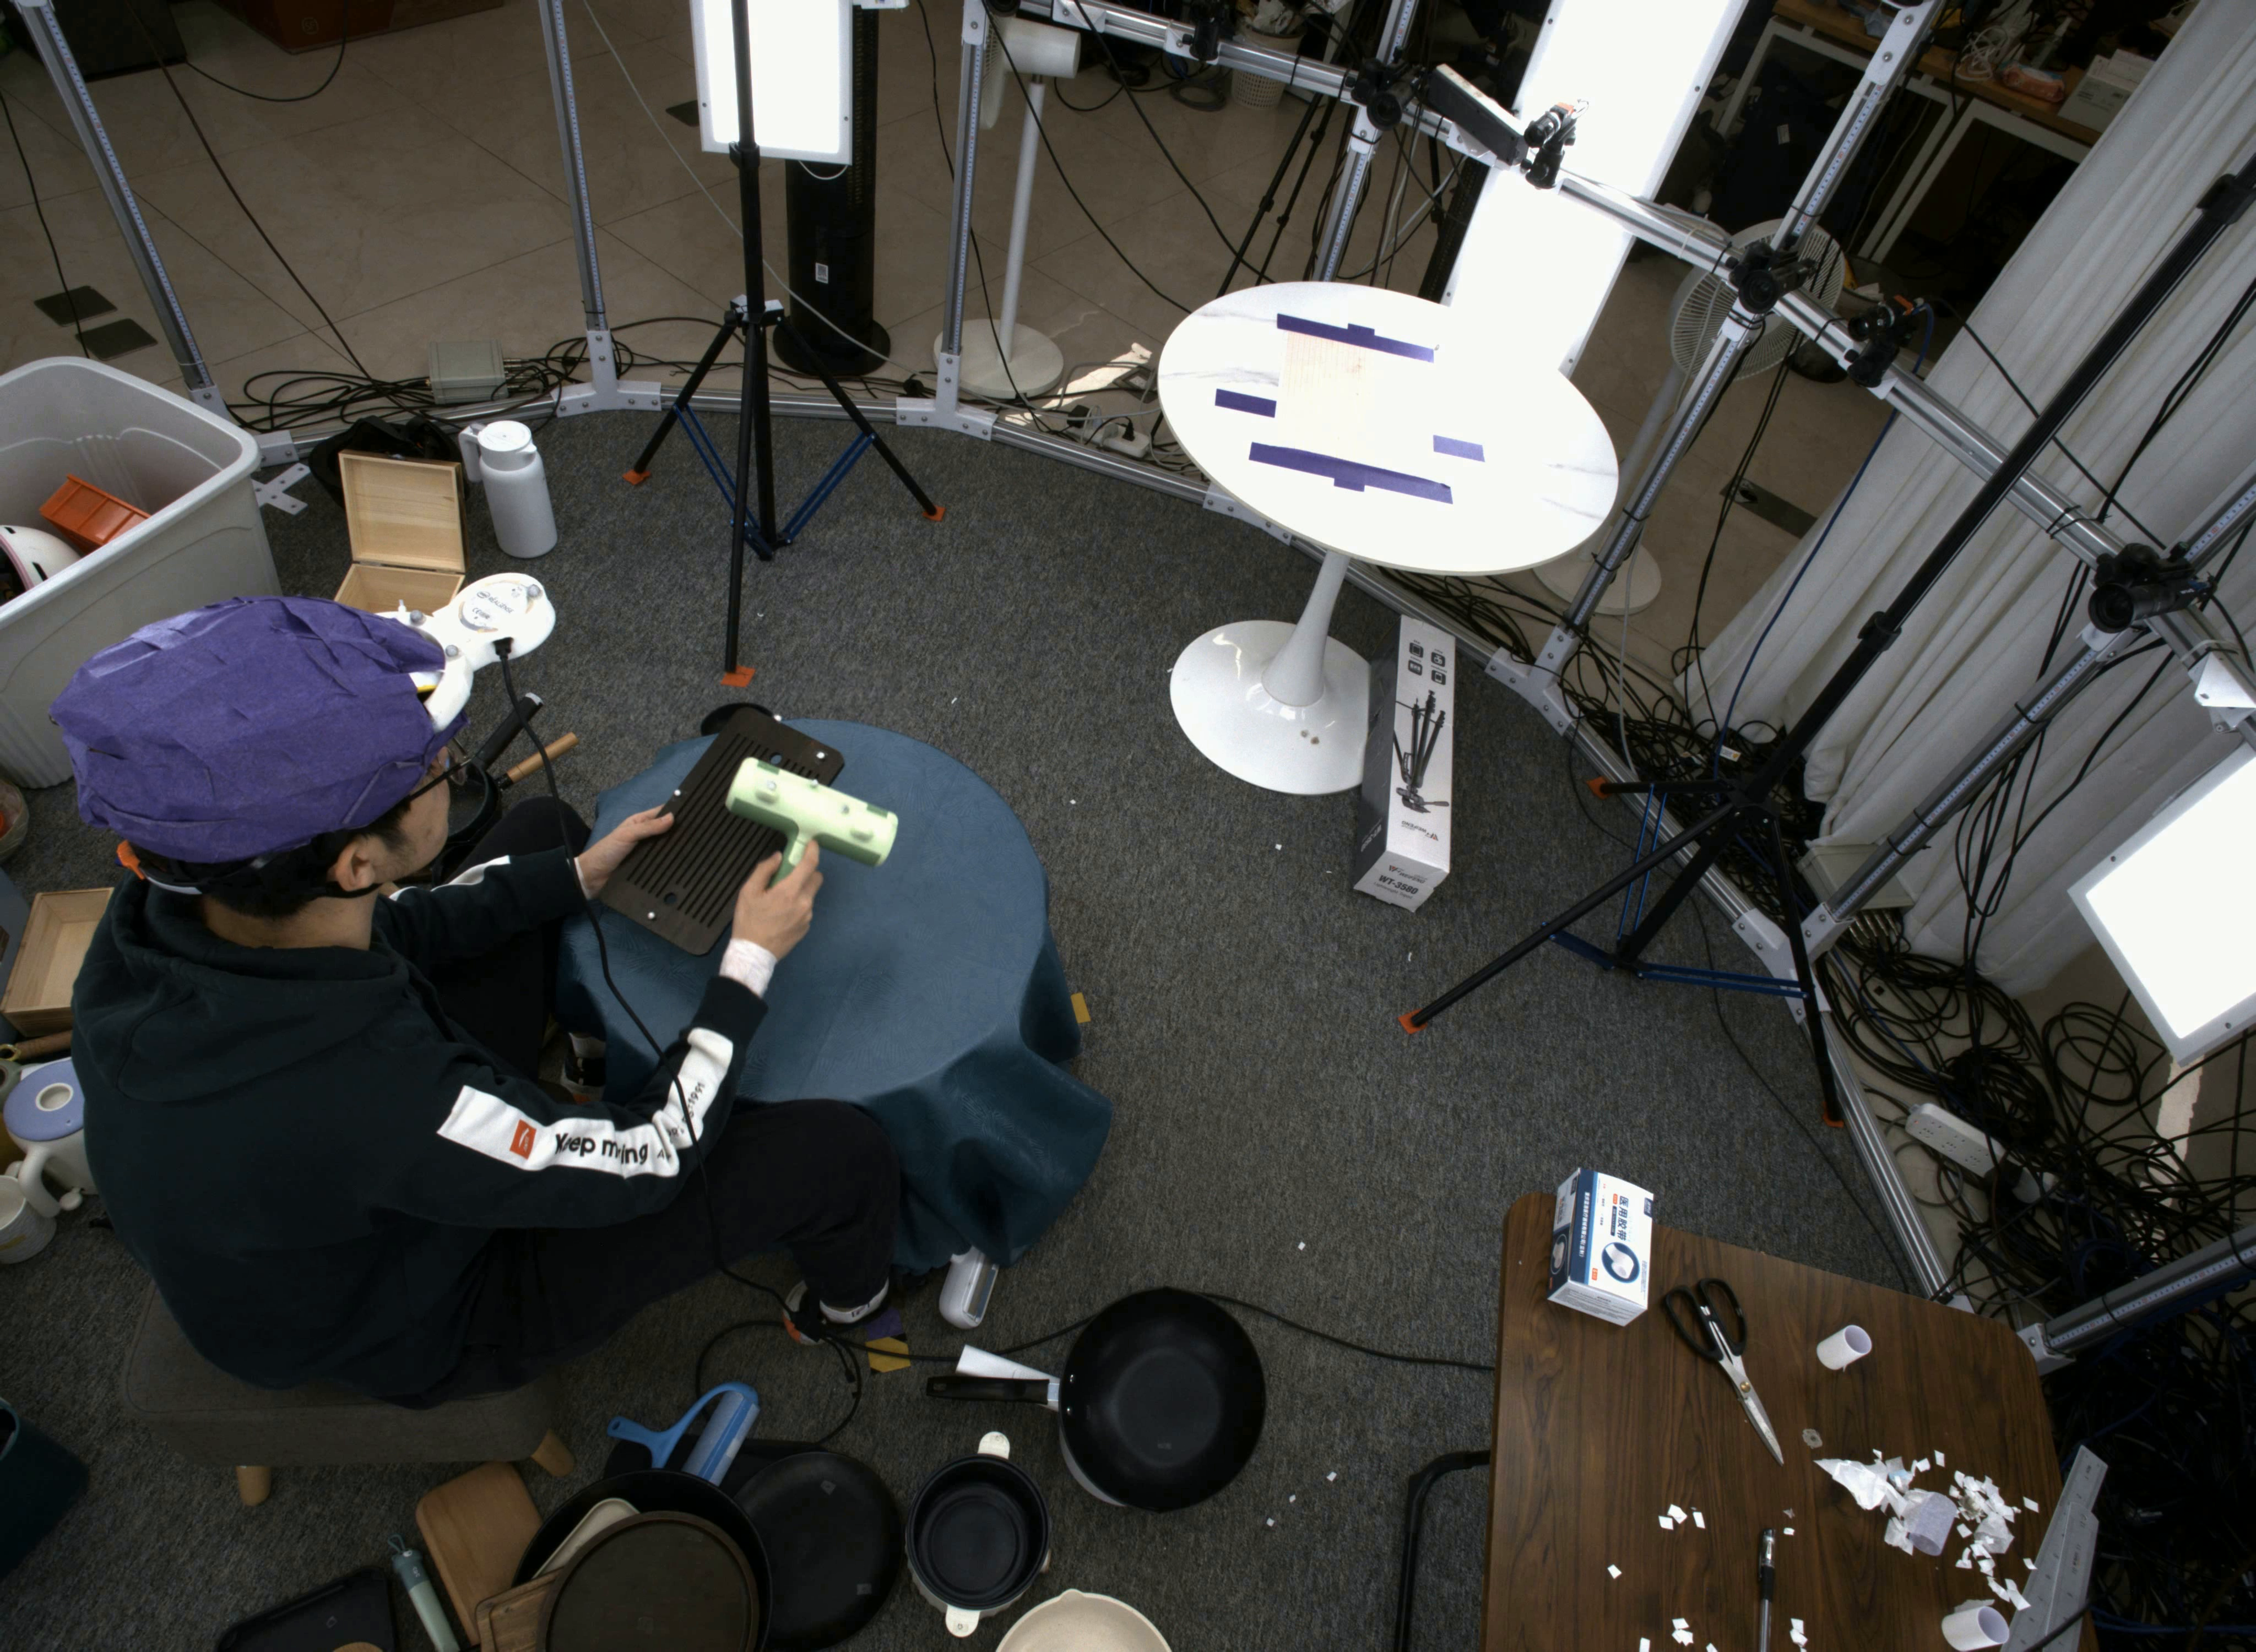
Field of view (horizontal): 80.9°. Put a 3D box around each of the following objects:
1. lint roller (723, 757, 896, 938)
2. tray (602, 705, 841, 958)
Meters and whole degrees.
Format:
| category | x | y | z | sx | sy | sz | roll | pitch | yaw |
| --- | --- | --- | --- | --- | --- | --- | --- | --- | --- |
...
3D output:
| category | x | y | z | sx | sy | sz | roll | pitch | yaw |
| --- | --- | --- | --- | --- | --- | --- | --- | --- | --- |
| lint roller | -0.382 | 0.035 | 1.491 | 0.202 | 0.081 | 0.182 | 24 | 64 | -21 |
| tray | -0.496 | 0.000 | 1.577 | 0.166 | 0.019 | 0.305 | 26 | 69 | 14 |
